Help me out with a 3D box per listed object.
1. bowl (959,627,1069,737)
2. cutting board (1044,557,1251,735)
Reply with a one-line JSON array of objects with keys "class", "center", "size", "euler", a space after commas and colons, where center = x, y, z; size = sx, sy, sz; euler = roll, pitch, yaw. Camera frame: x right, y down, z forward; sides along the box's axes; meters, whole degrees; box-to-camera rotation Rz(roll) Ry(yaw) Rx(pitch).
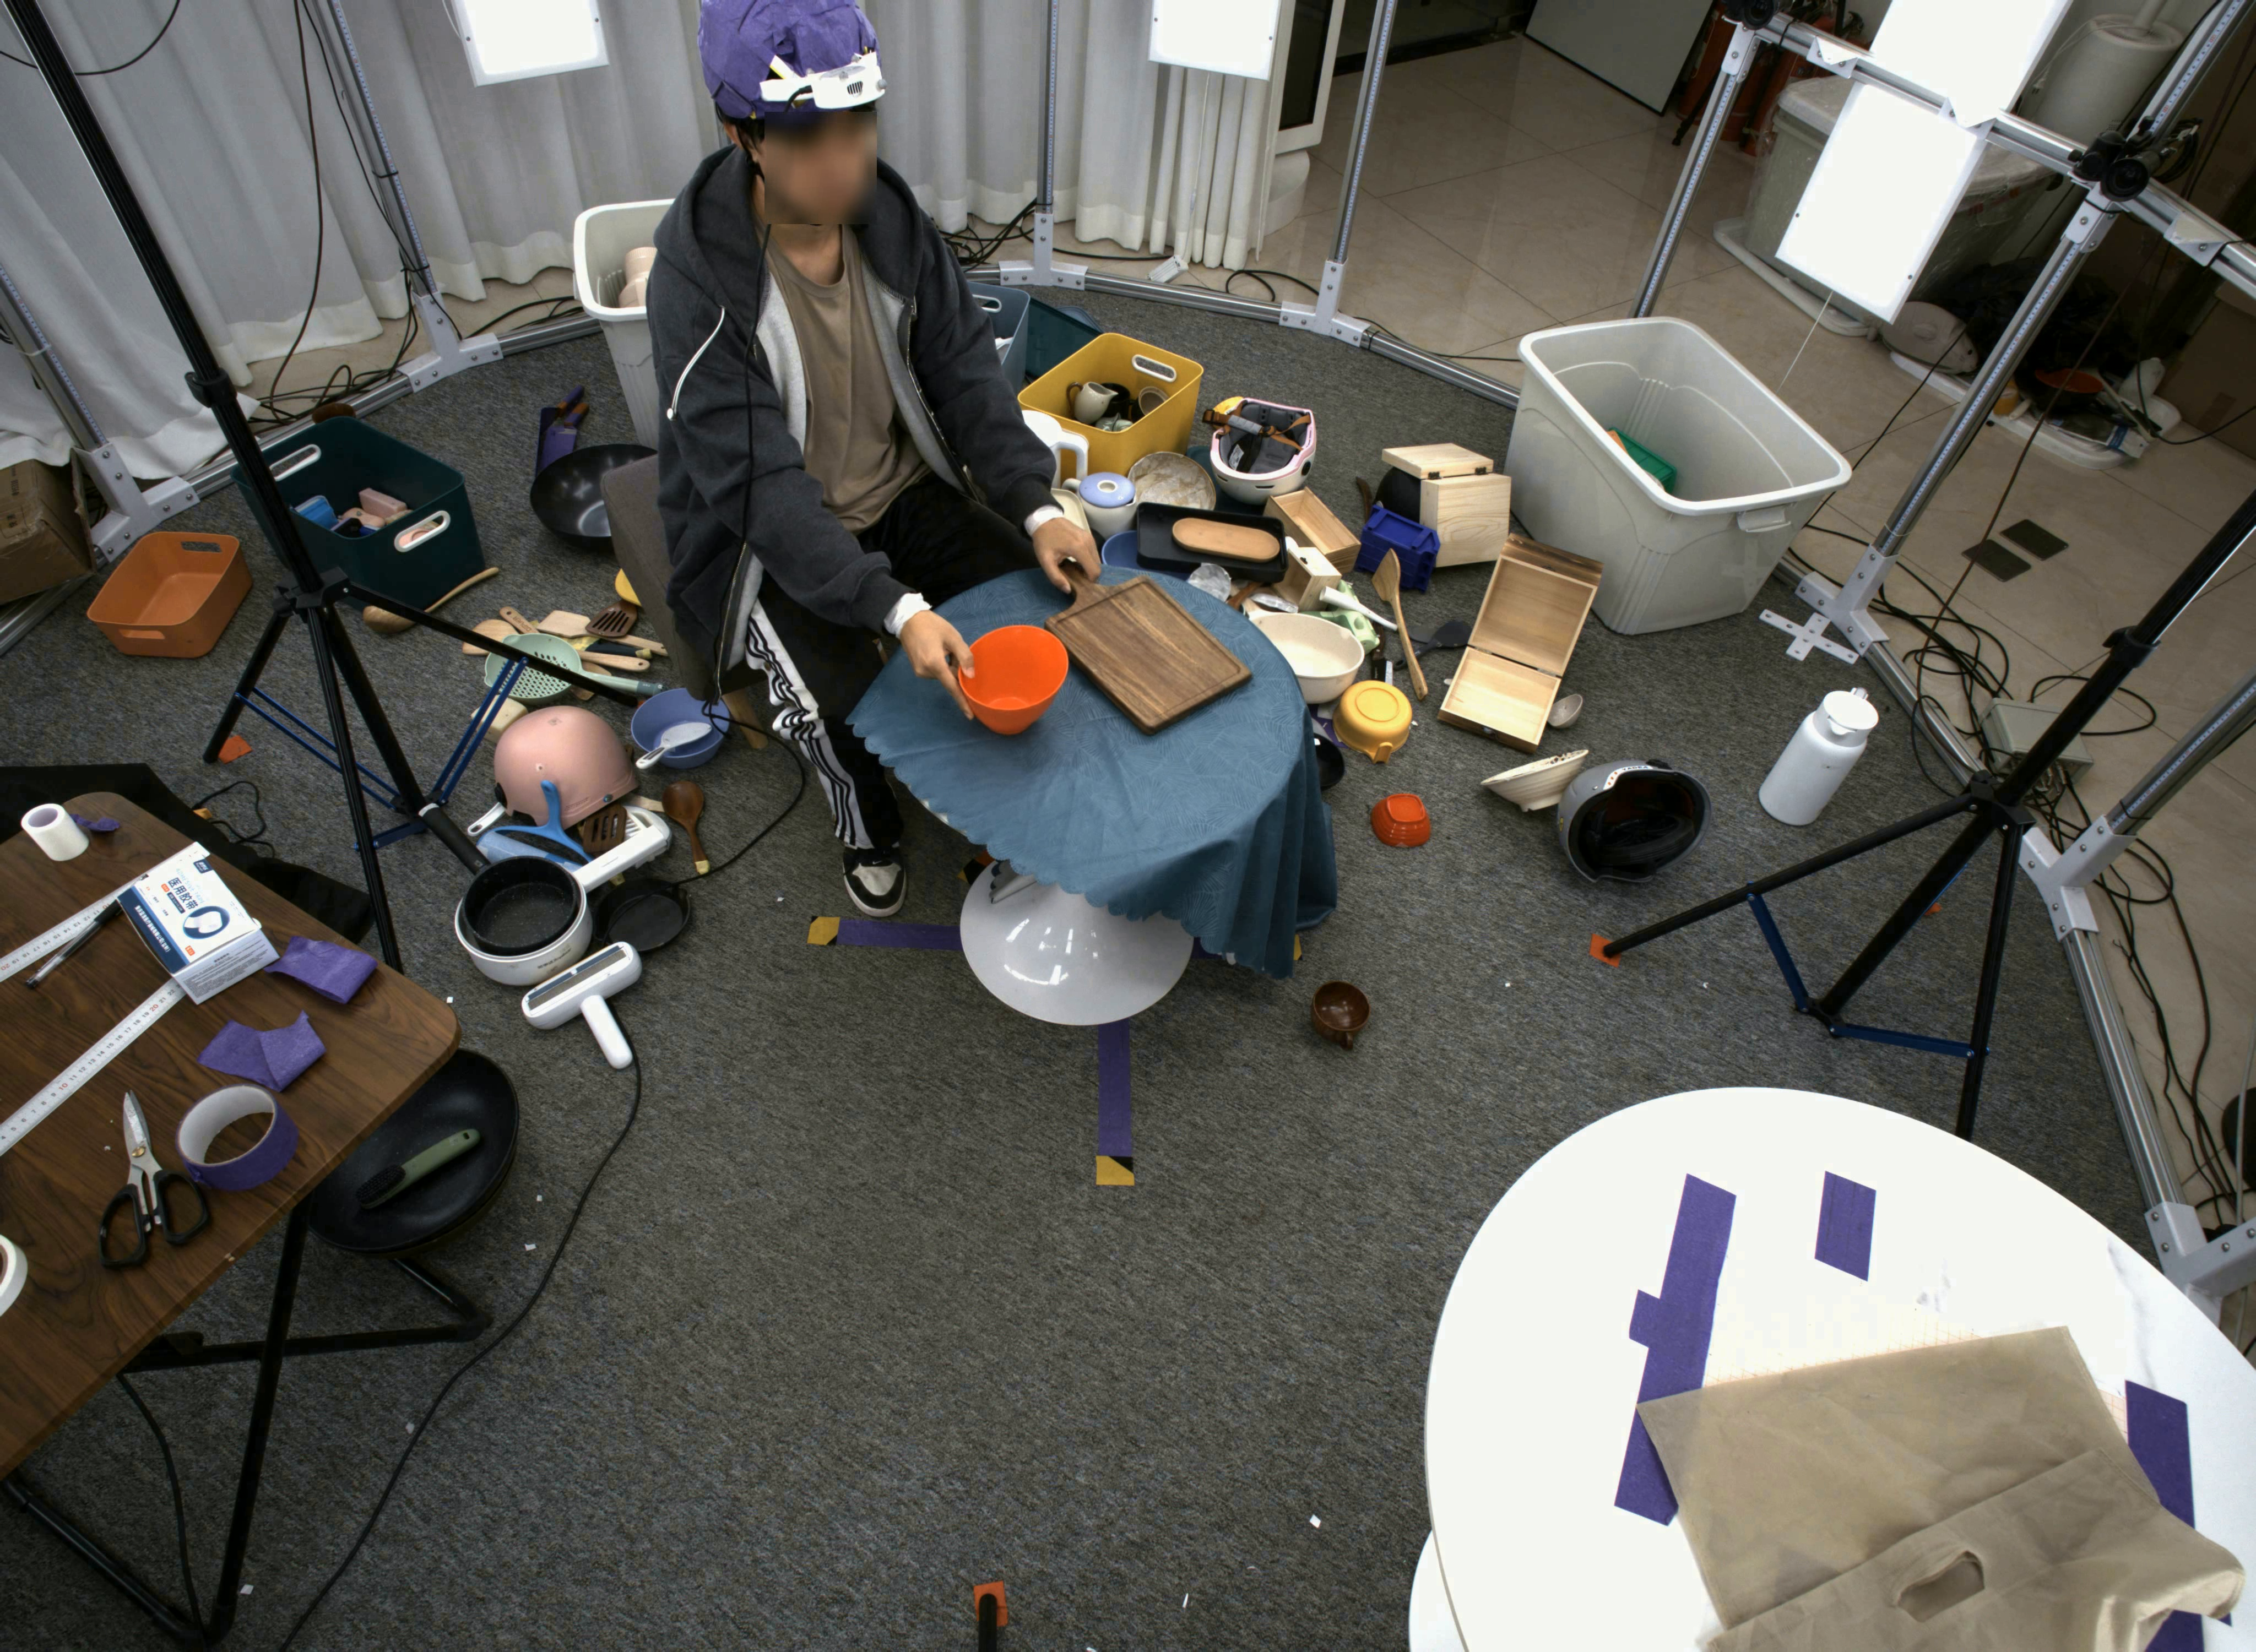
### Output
[{"class": "bowl", "center": [-0.154, -0.186, 1.753], "size": [0.148, 0.102, 0.152], "euler": [1, 49, -2]}, {"class": "cutting board", "center": [-0.003, -0.288, 1.890], "size": [0.202, 0.022, 0.358], "euler": [-29, 60, -26]}]
